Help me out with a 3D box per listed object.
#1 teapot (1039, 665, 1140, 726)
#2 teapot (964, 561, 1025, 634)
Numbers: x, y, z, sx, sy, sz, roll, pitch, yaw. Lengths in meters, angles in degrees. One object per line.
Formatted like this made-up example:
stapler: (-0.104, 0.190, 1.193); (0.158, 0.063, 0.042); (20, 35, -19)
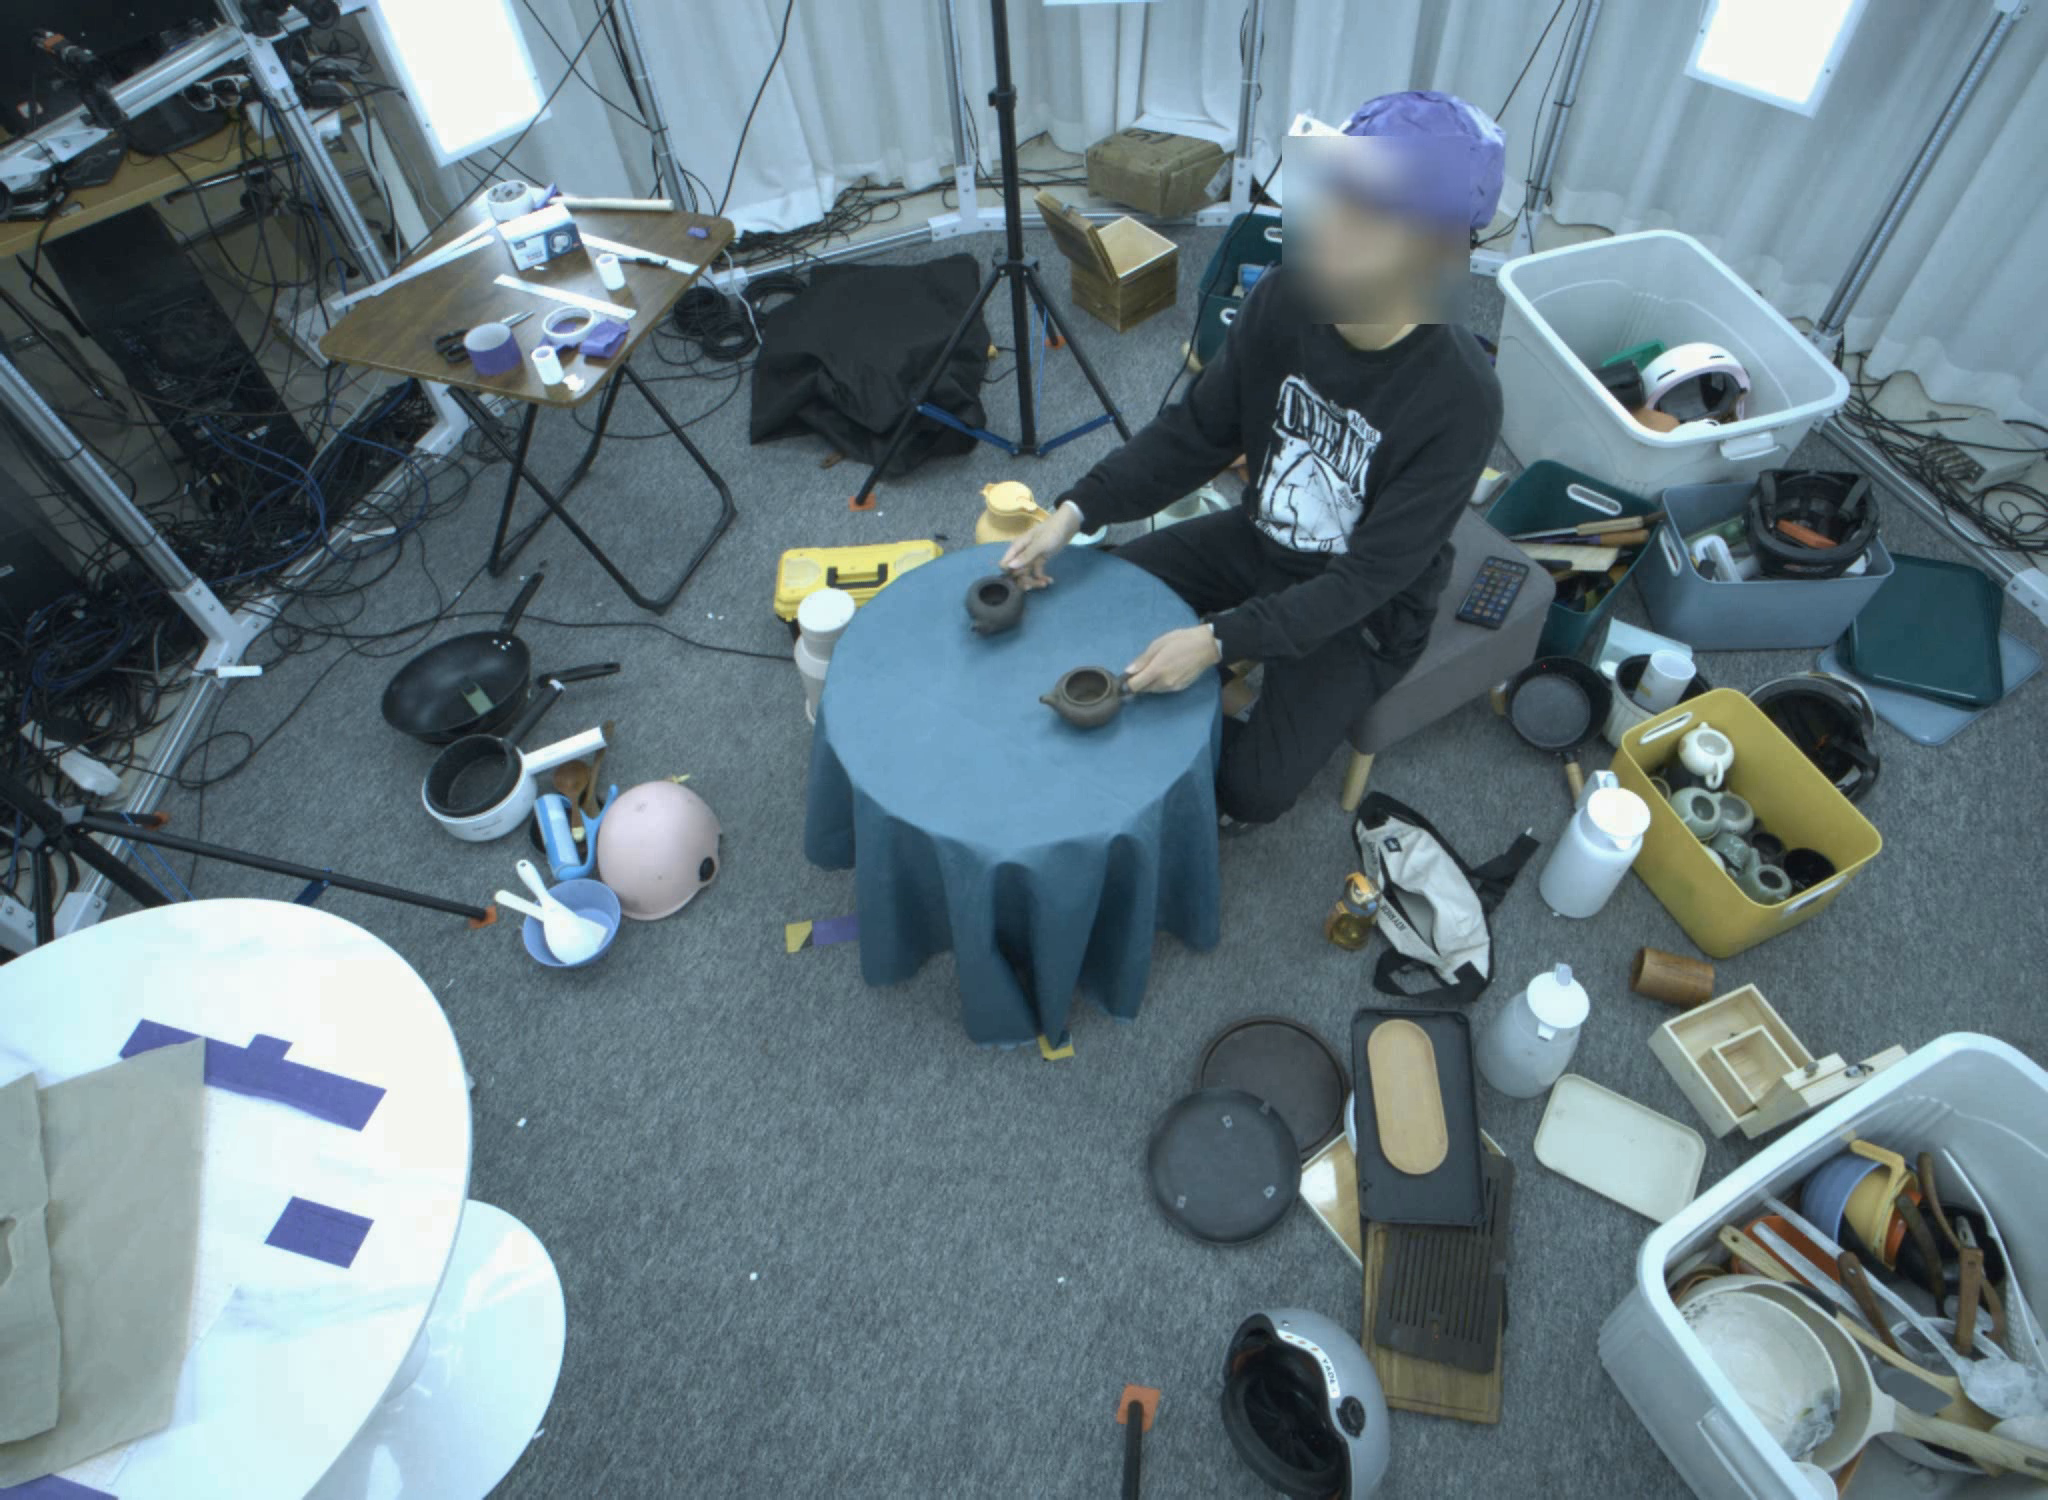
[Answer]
teapot: (0.097, -0.083, 1.802); (0.154, 0.054, 0.101); (-22, 55, -7)
teapot: (-0.045, -0.232, 1.908); (0.091, 0.065, 0.154); (23, 64, 13)
